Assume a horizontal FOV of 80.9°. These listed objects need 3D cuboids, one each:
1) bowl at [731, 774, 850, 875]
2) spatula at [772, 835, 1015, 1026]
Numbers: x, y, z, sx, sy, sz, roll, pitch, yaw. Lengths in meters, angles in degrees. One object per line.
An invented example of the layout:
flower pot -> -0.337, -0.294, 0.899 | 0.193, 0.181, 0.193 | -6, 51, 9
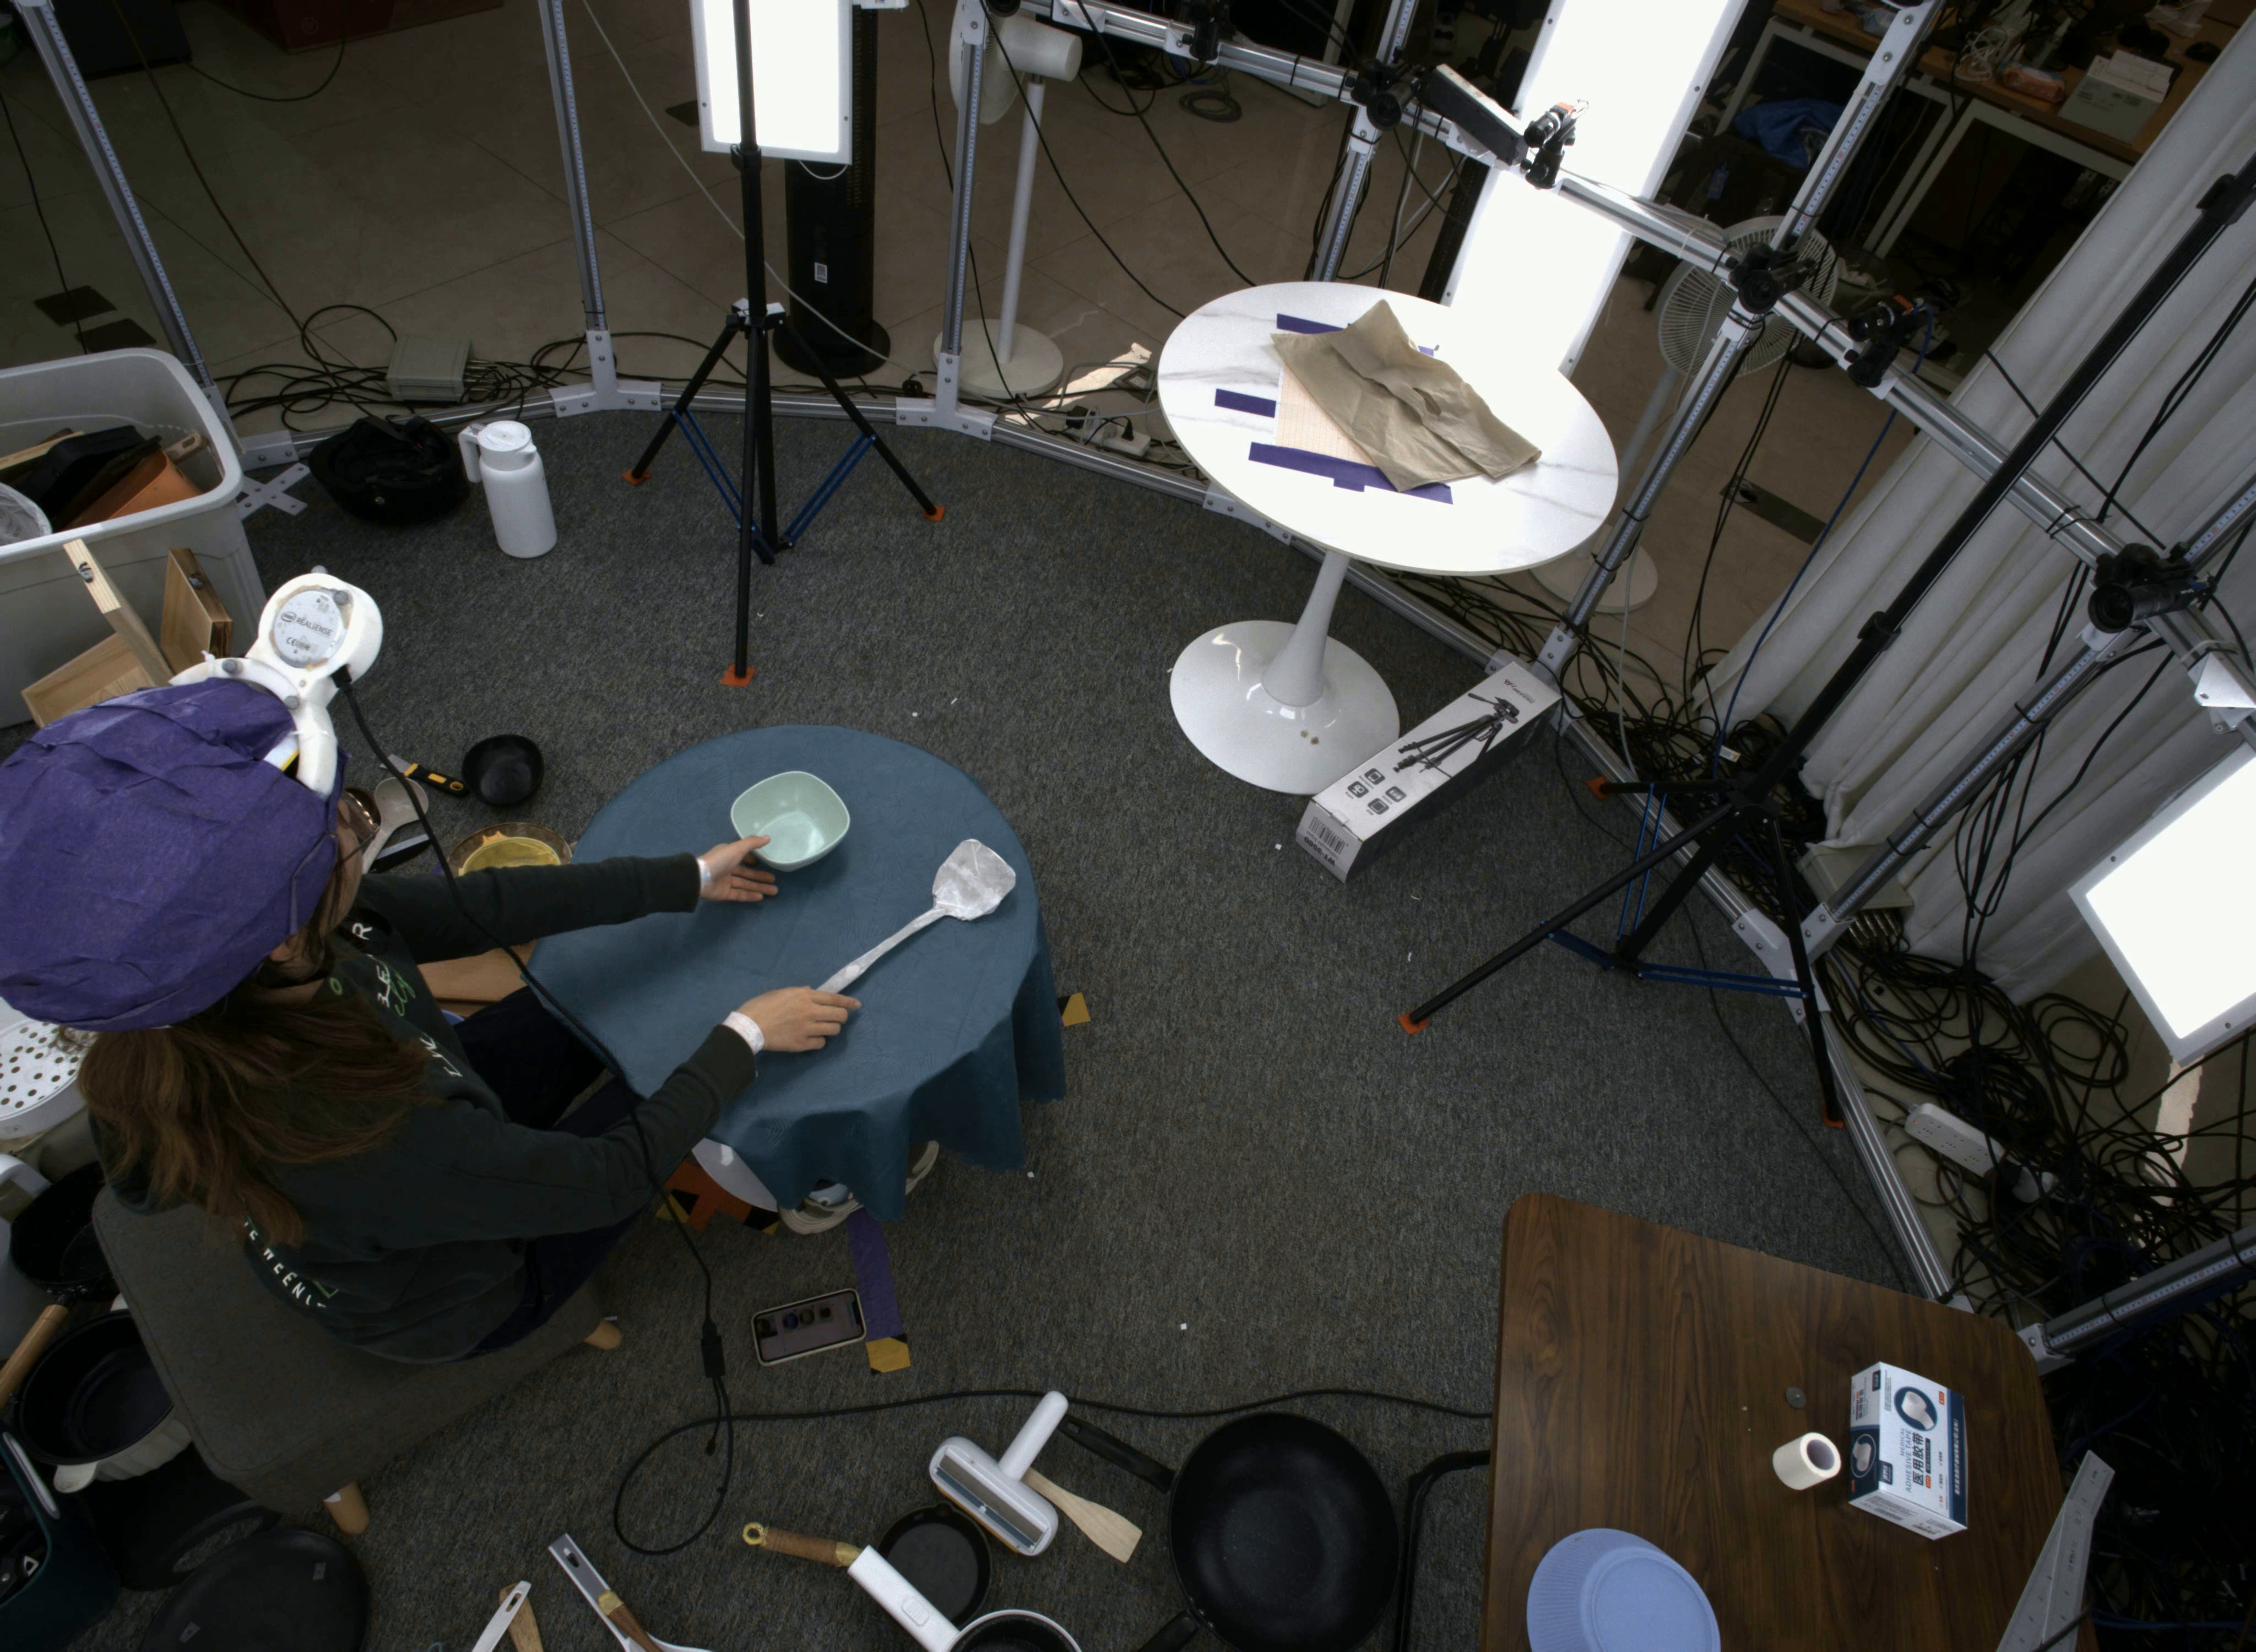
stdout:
bowl -> -0.438, 0.006, 1.687 | 0.151, 0.060, 0.148 | 7, 51, -8
spatula -> -0.296, 0.137, 1.635 | 0.097, 0.045, 0.365 | 42, 55, 16
